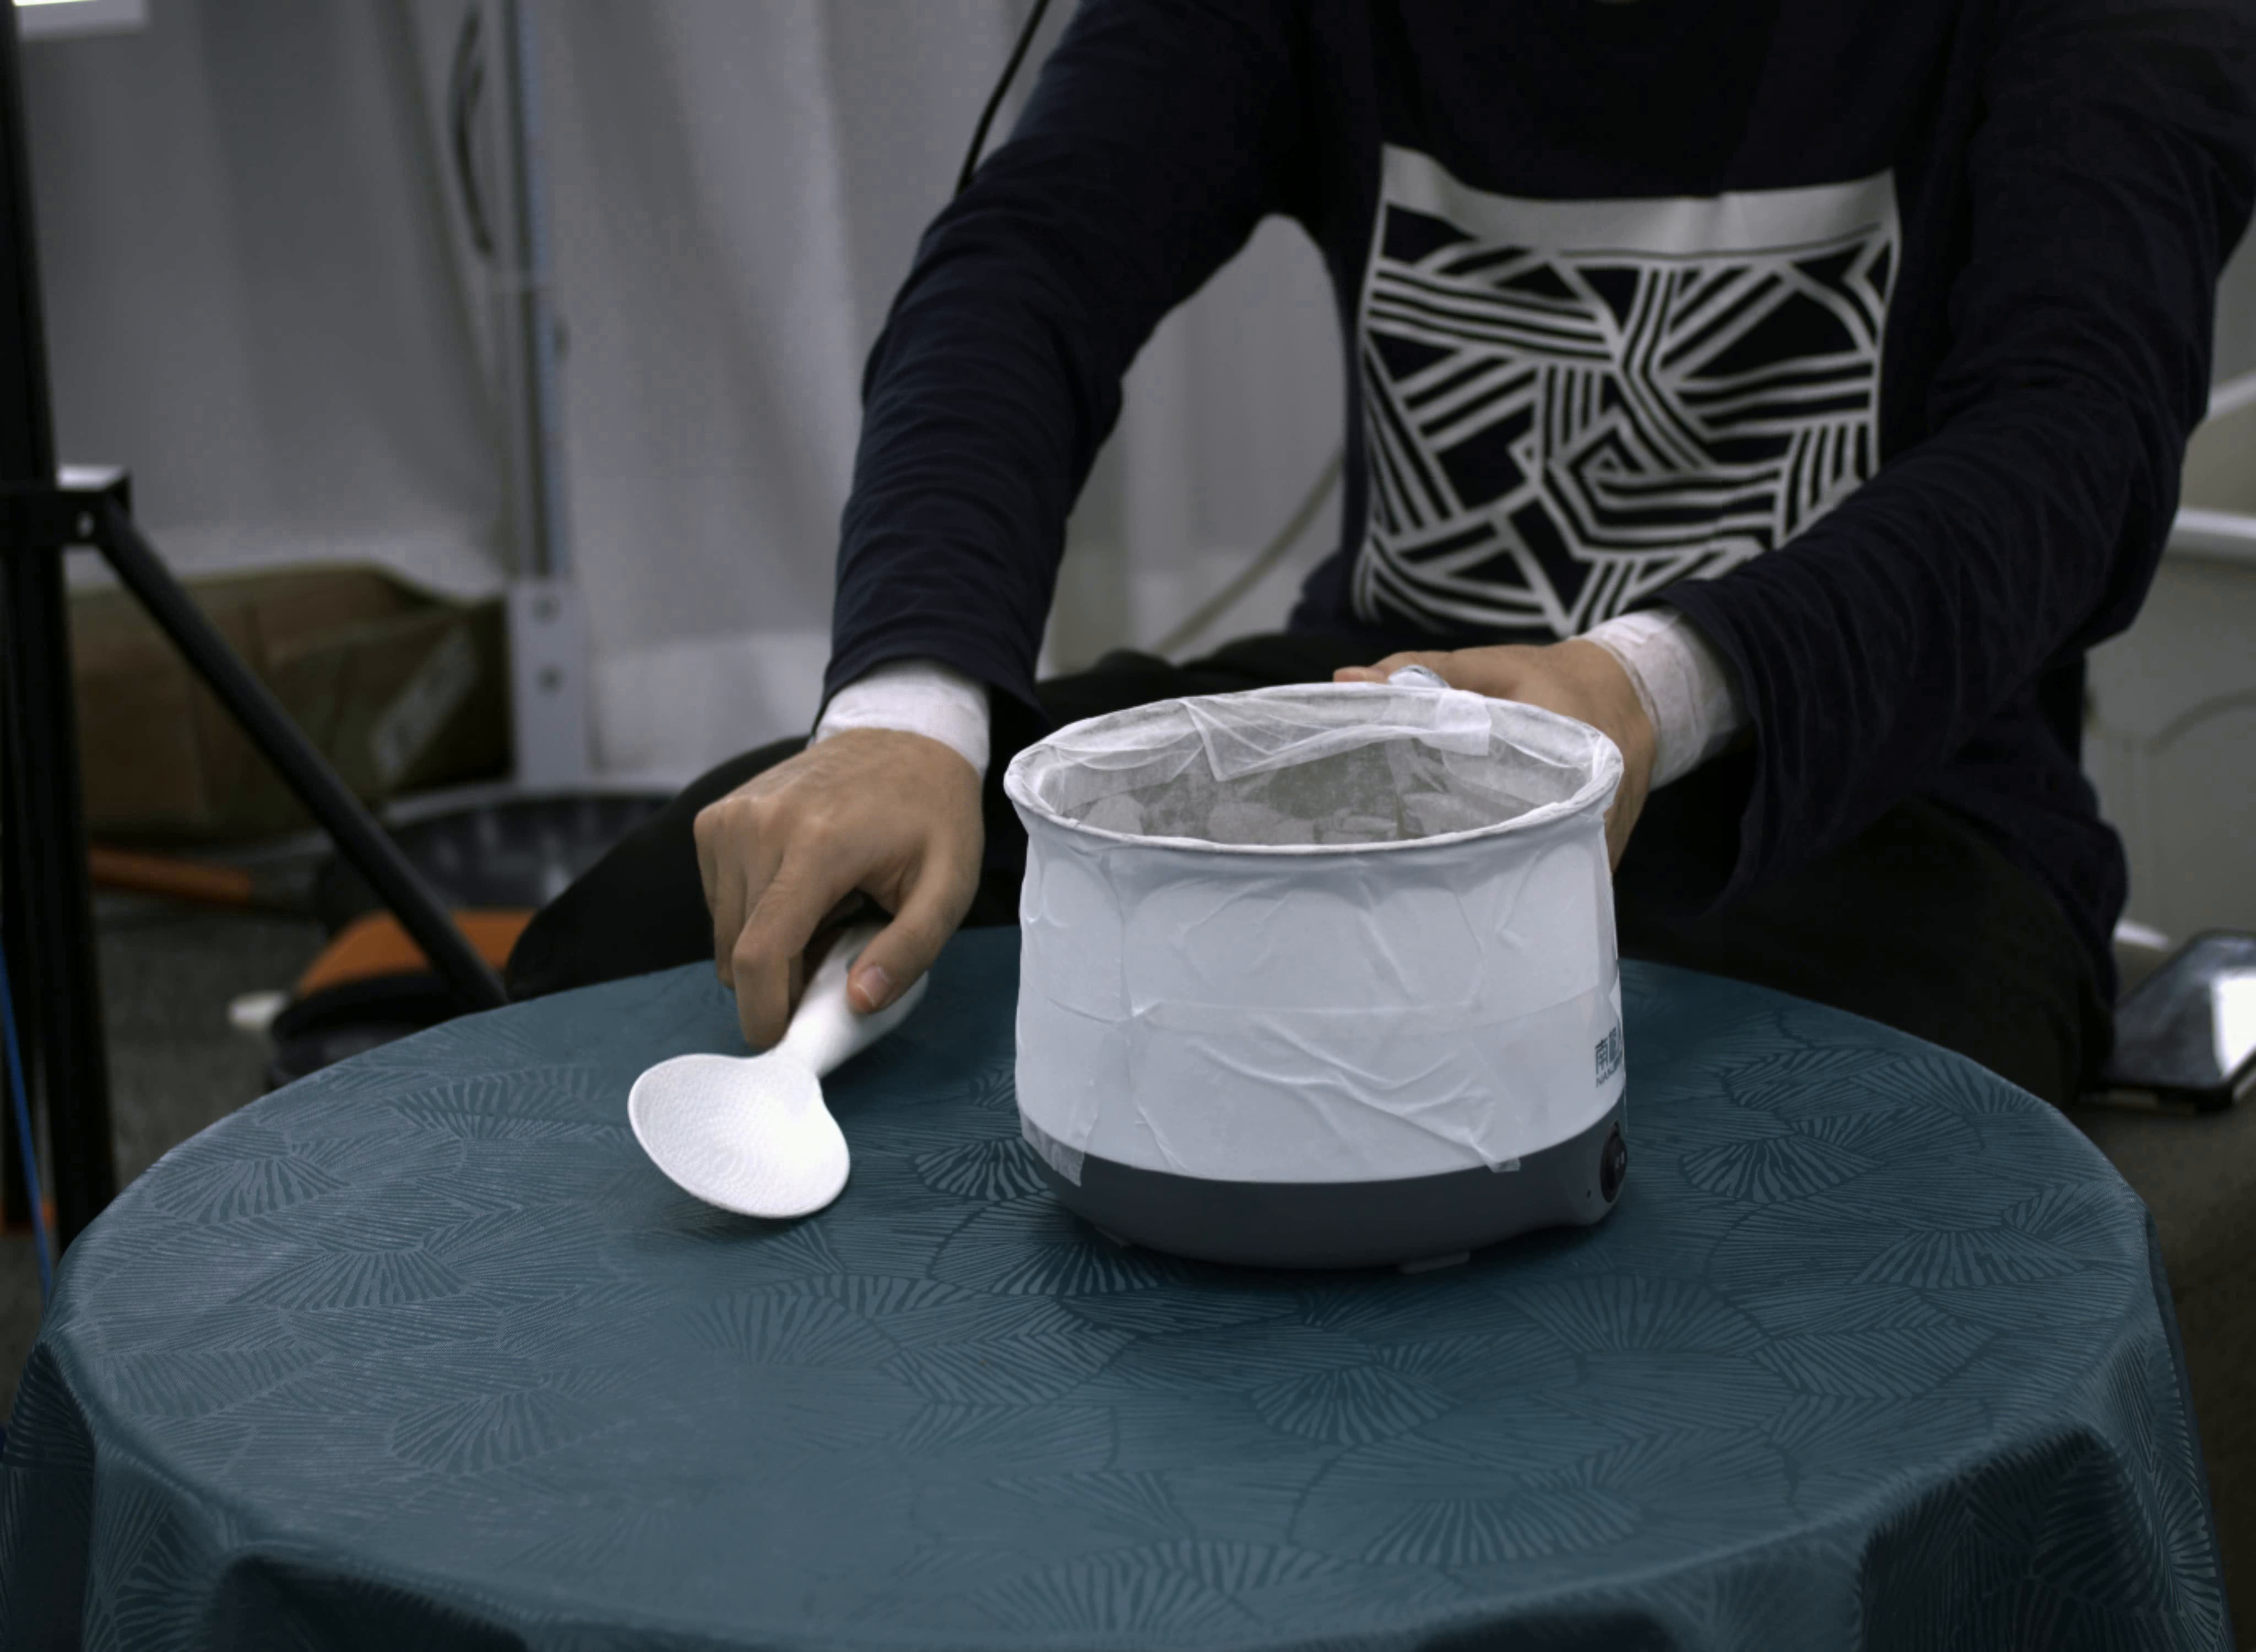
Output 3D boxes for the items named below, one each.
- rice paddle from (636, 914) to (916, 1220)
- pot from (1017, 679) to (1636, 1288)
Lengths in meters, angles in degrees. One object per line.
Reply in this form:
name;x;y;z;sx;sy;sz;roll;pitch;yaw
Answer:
rice paddle;-0.101;0.073;1.626;0.069;0.029;0.204;29;21;1
pot;0.065;0.040;1.557;0.181;0.136;0.231;5;16;19
